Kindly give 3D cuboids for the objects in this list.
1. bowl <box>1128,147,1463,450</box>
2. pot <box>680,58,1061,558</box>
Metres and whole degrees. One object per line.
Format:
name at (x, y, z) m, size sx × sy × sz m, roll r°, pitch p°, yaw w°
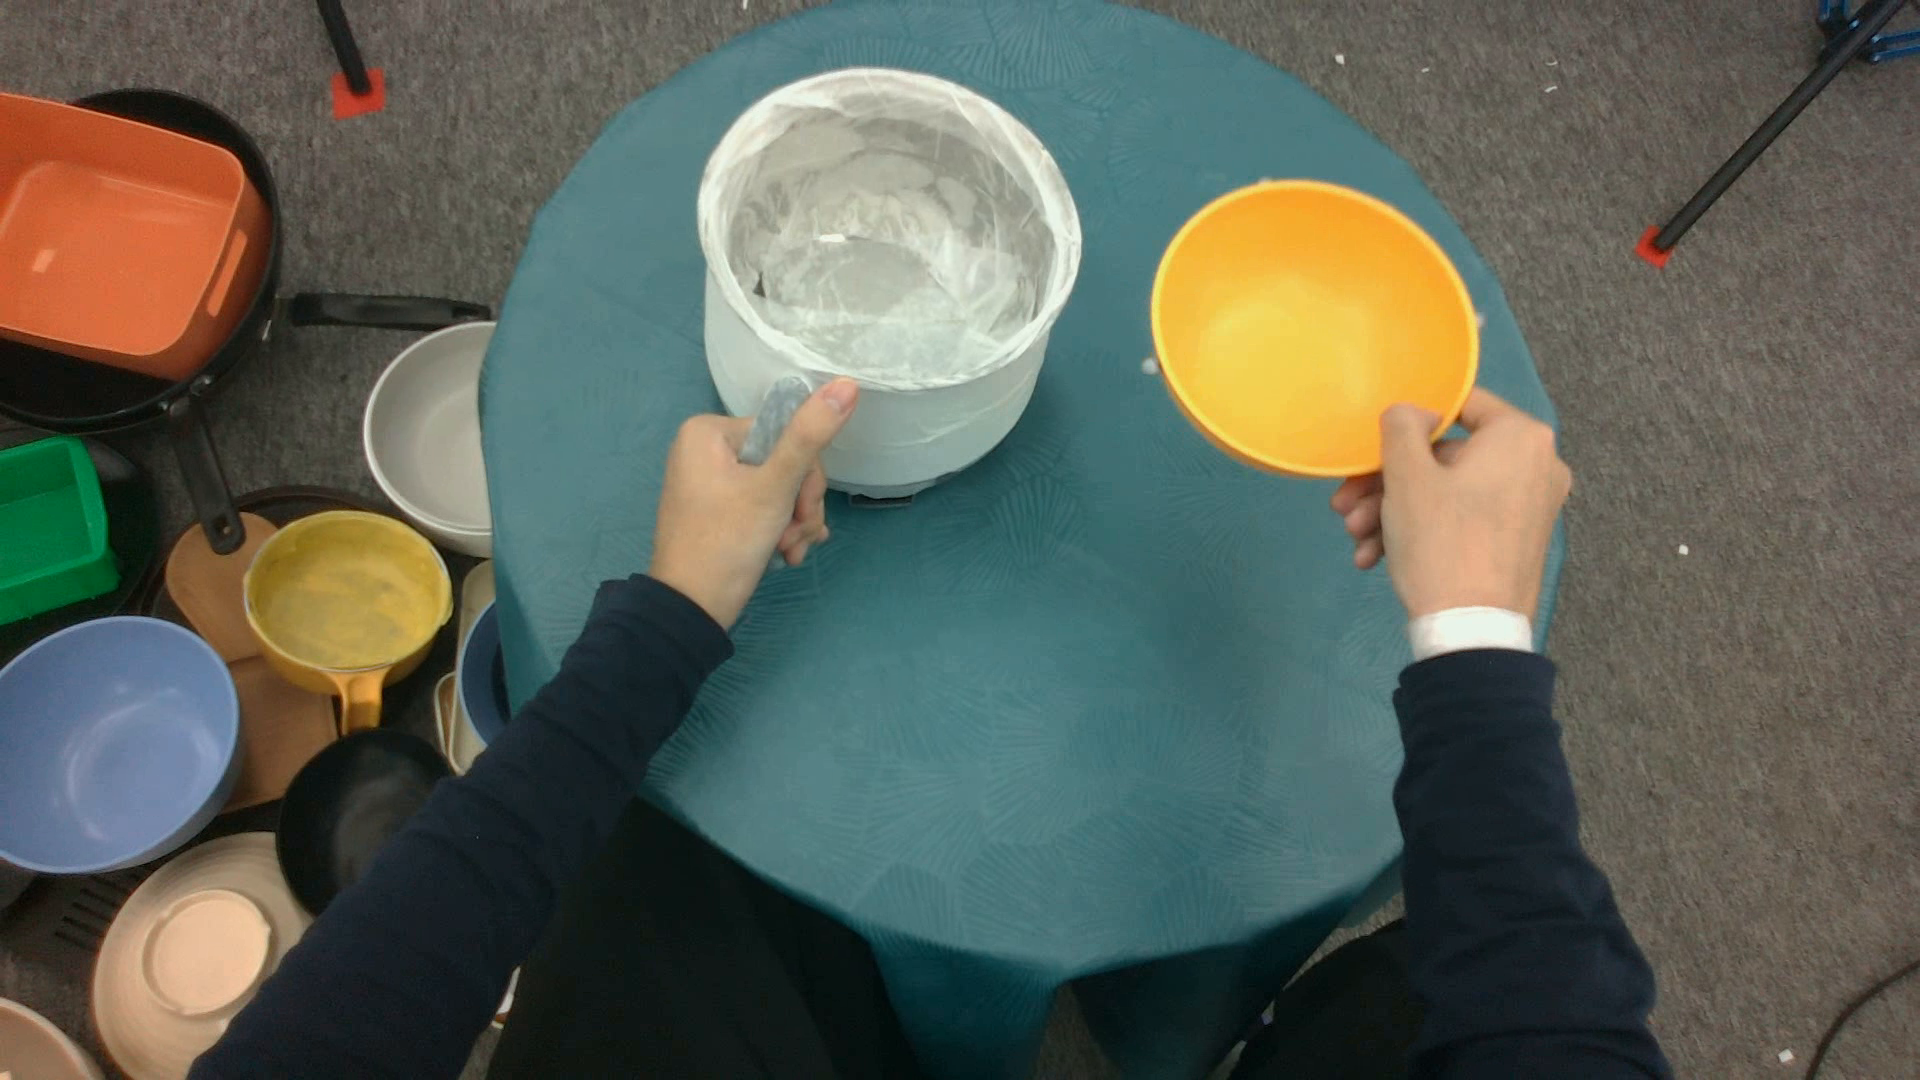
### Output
bowl at (0.145, -0.099, 0.621) m, size 0.145 × 0.060 × 0.145 m, roll 0°, pitch 72°, yaw -1°
pot at (-0.058, -0.106, 0.681) m, size 0.179 × 0.136 × 0.235 m, roll 23°, pitch 63°, yaw 4°
